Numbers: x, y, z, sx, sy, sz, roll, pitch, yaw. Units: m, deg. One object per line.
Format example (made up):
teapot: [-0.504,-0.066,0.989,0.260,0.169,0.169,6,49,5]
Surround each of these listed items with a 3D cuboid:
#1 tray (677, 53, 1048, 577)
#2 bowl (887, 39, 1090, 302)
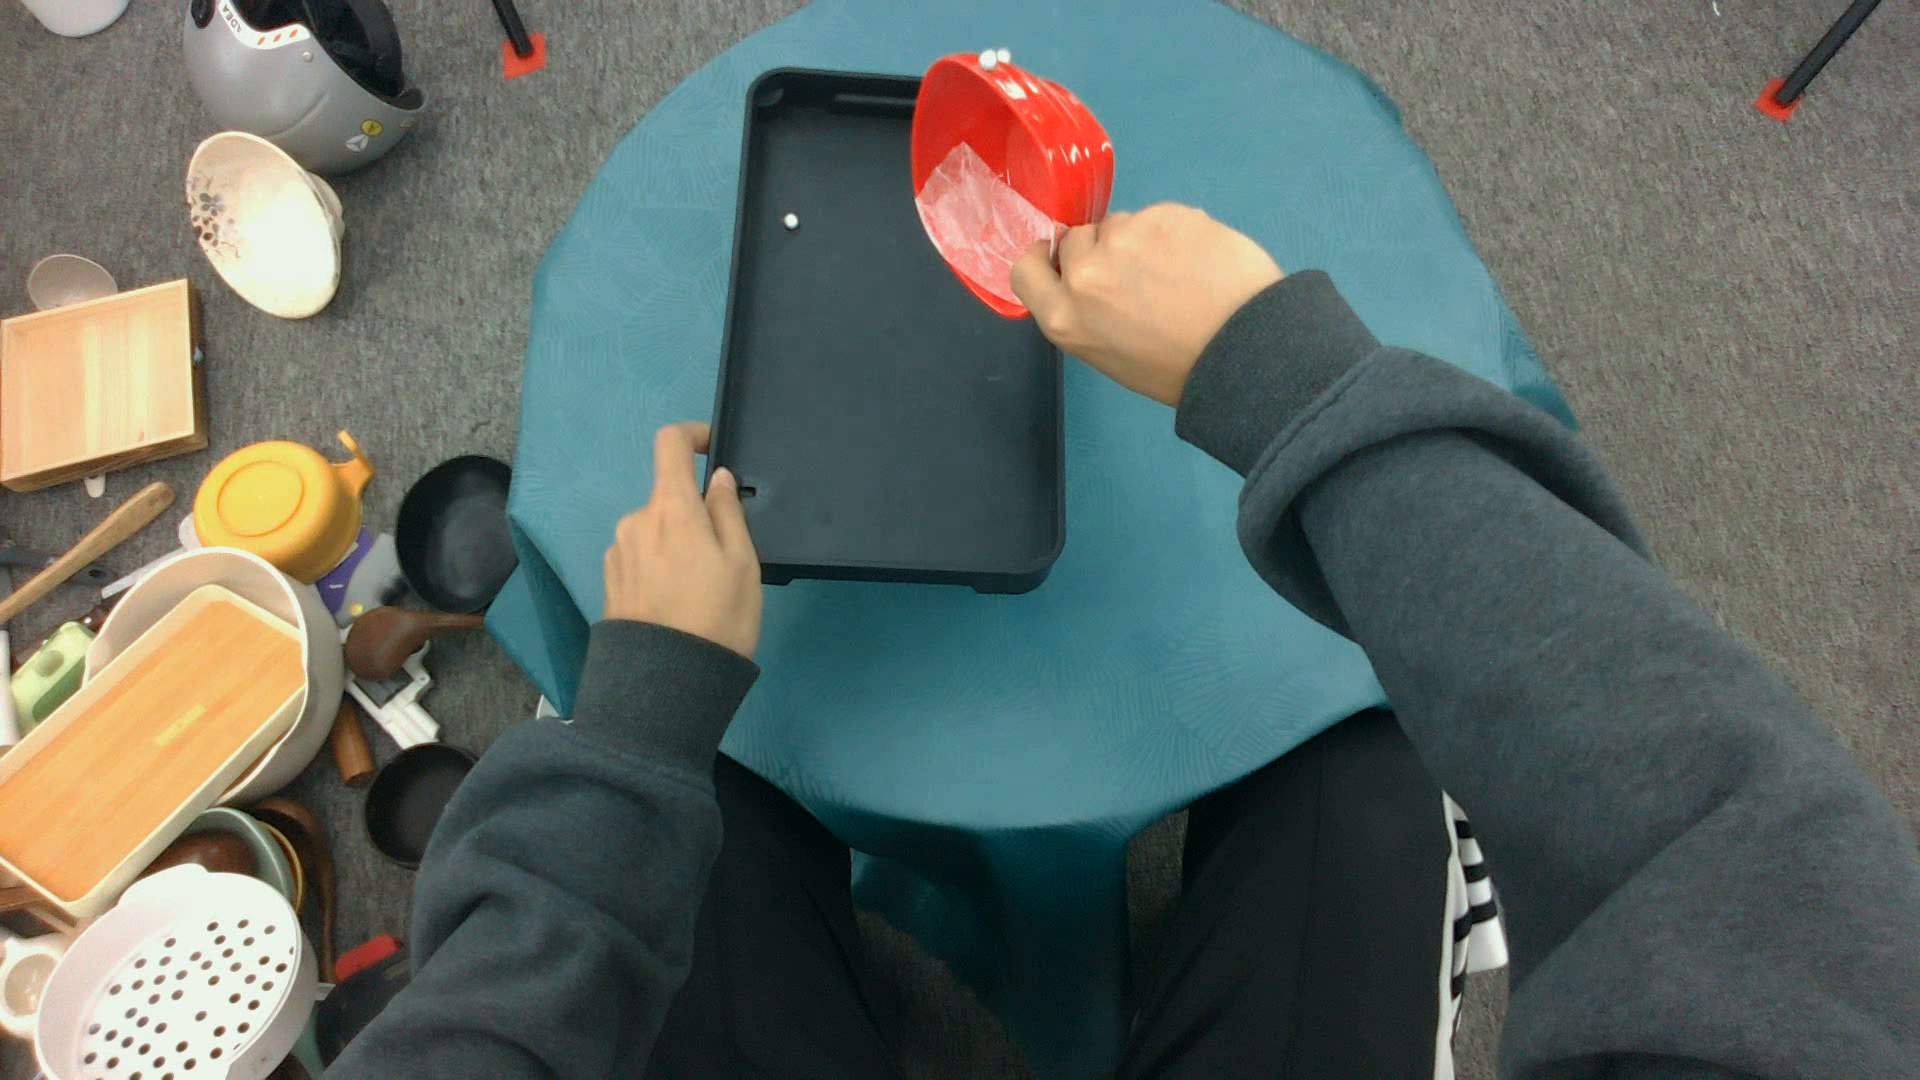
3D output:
tray: [-0.048,-0.131,0.754,0.184,0.037,0.319,2,64,-4]
bowl: [0.018,-0.174,0.635,0.051,0.118,0.119,-25,68,-27]
